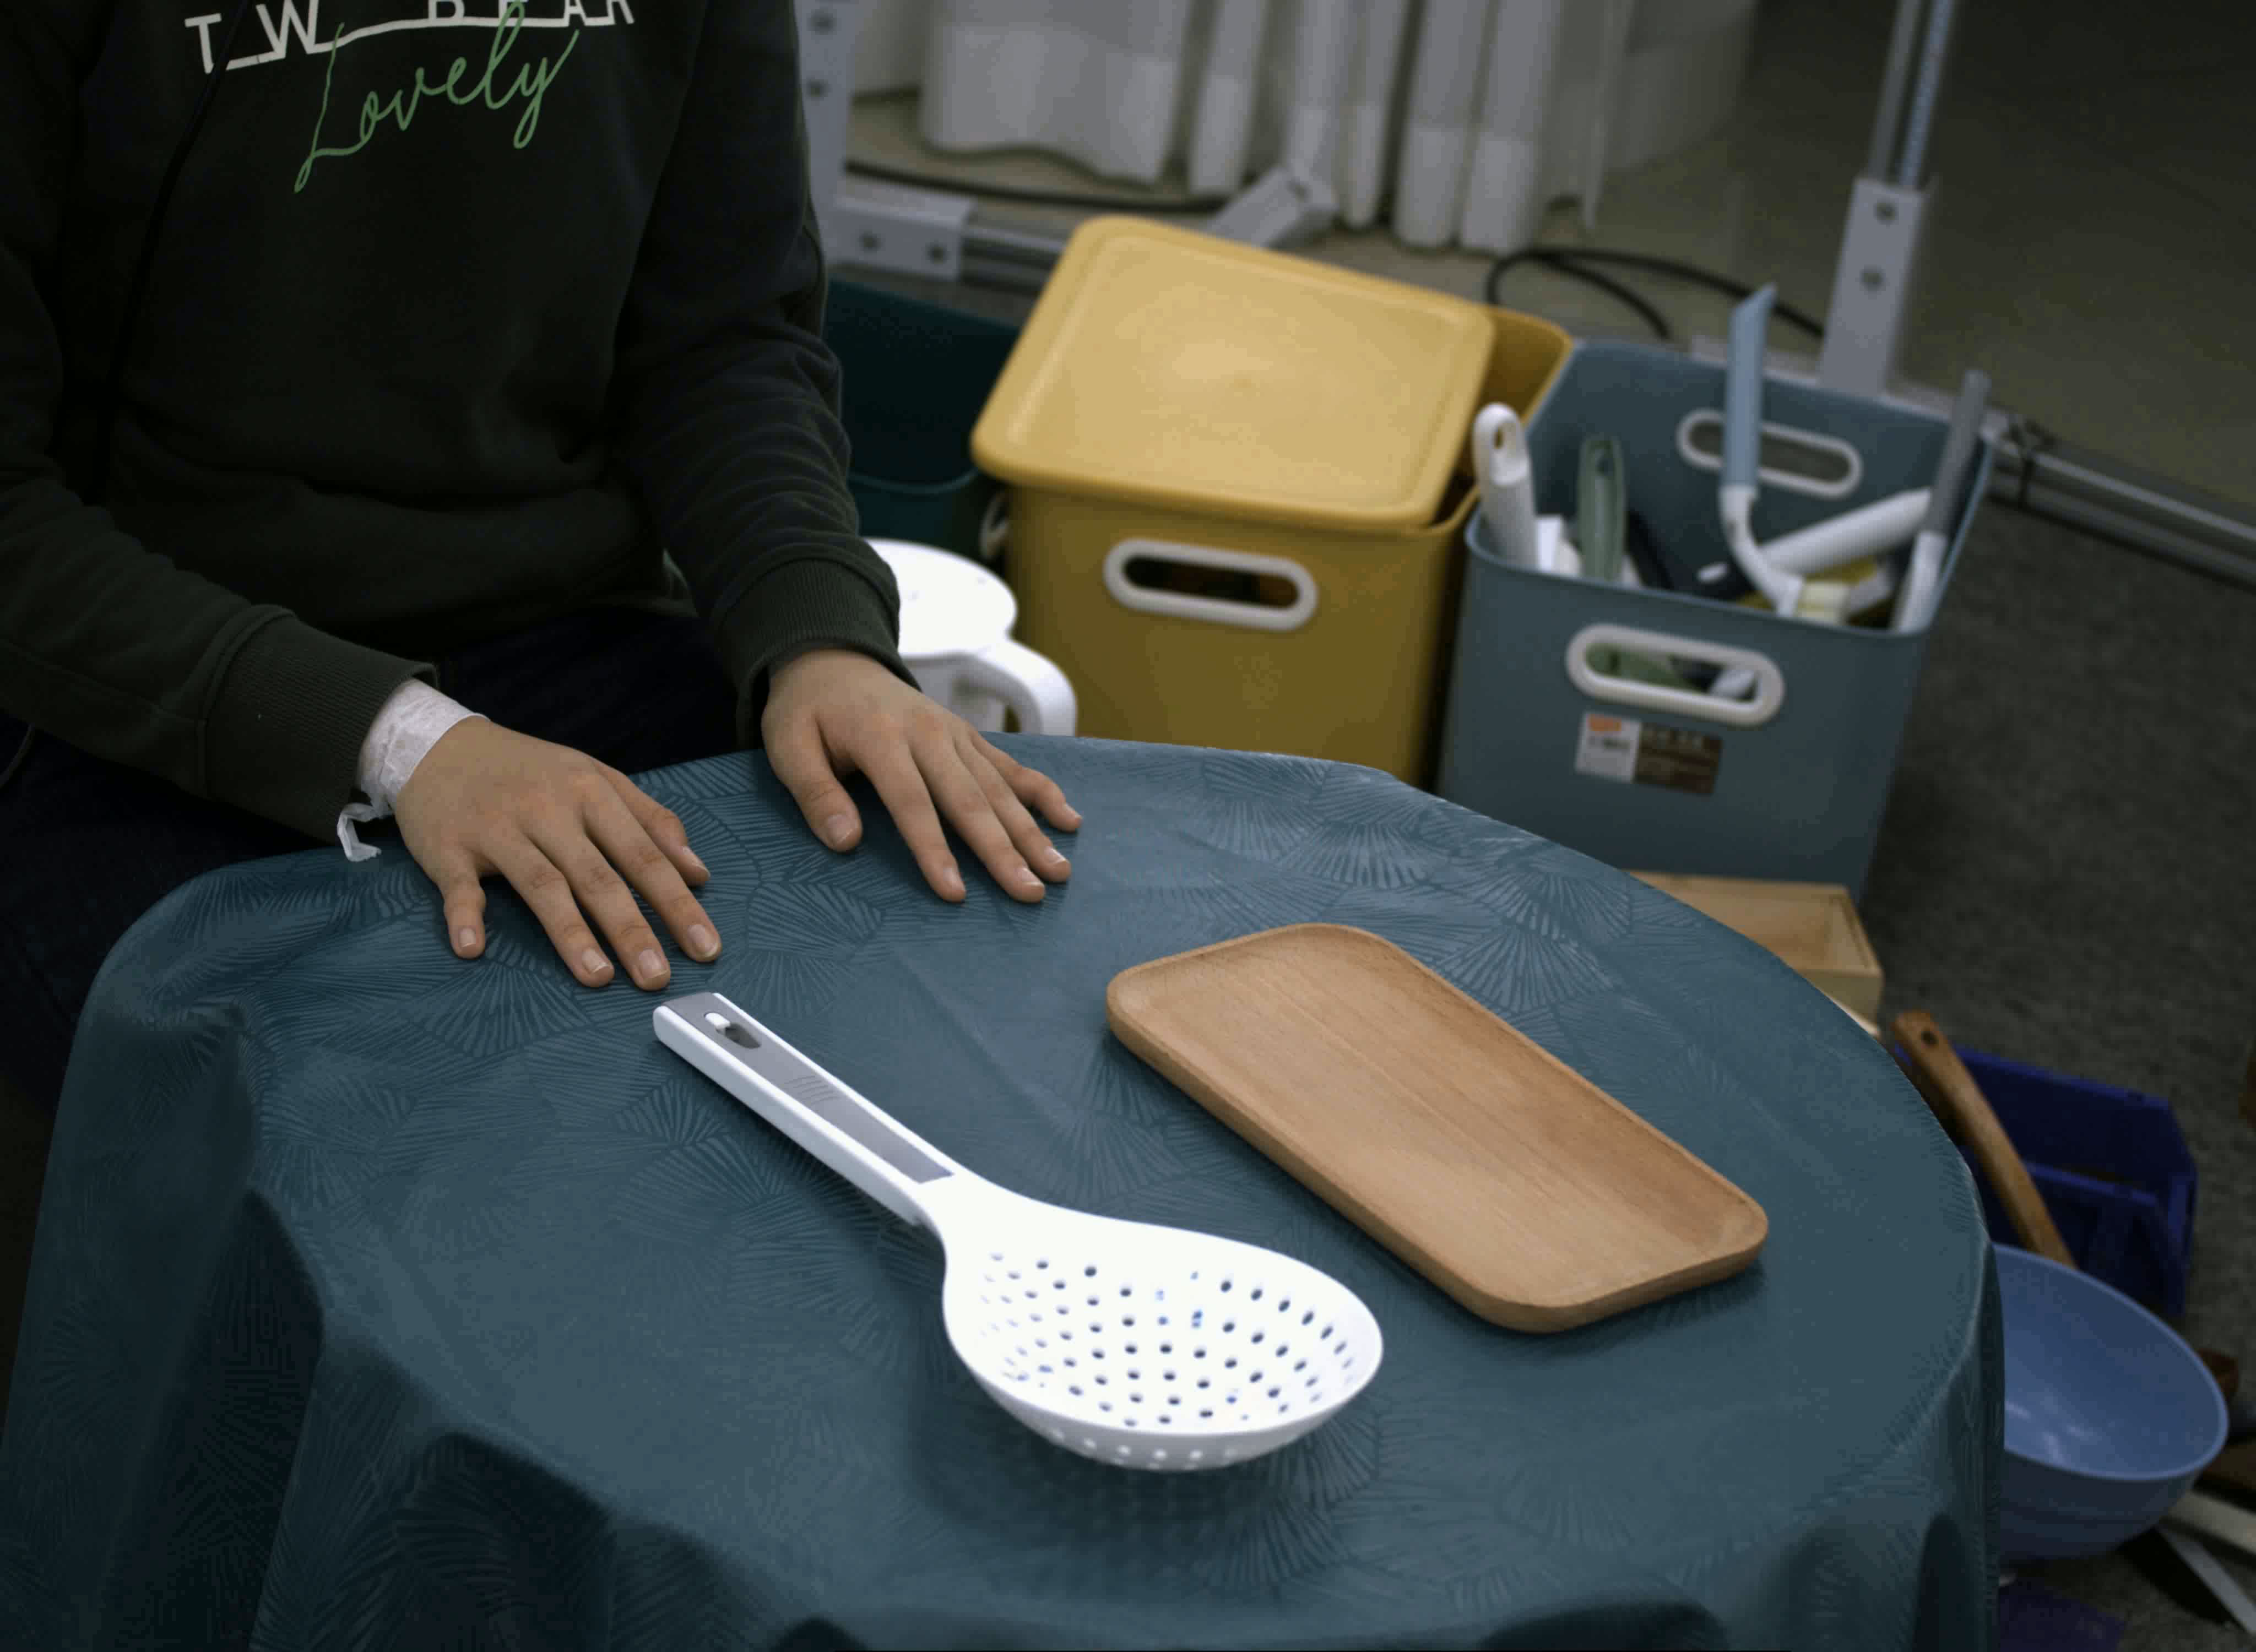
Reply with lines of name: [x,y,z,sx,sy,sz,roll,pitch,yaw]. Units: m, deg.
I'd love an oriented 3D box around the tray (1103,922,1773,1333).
tray: [0.104,0.102,1.848,0.130,0.023,0.253,-11,31,-35]

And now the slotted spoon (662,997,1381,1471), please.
slotted spoon: [-0.053,0.126,1.733,0.135,0.045,0.353,-10,30,-34]
